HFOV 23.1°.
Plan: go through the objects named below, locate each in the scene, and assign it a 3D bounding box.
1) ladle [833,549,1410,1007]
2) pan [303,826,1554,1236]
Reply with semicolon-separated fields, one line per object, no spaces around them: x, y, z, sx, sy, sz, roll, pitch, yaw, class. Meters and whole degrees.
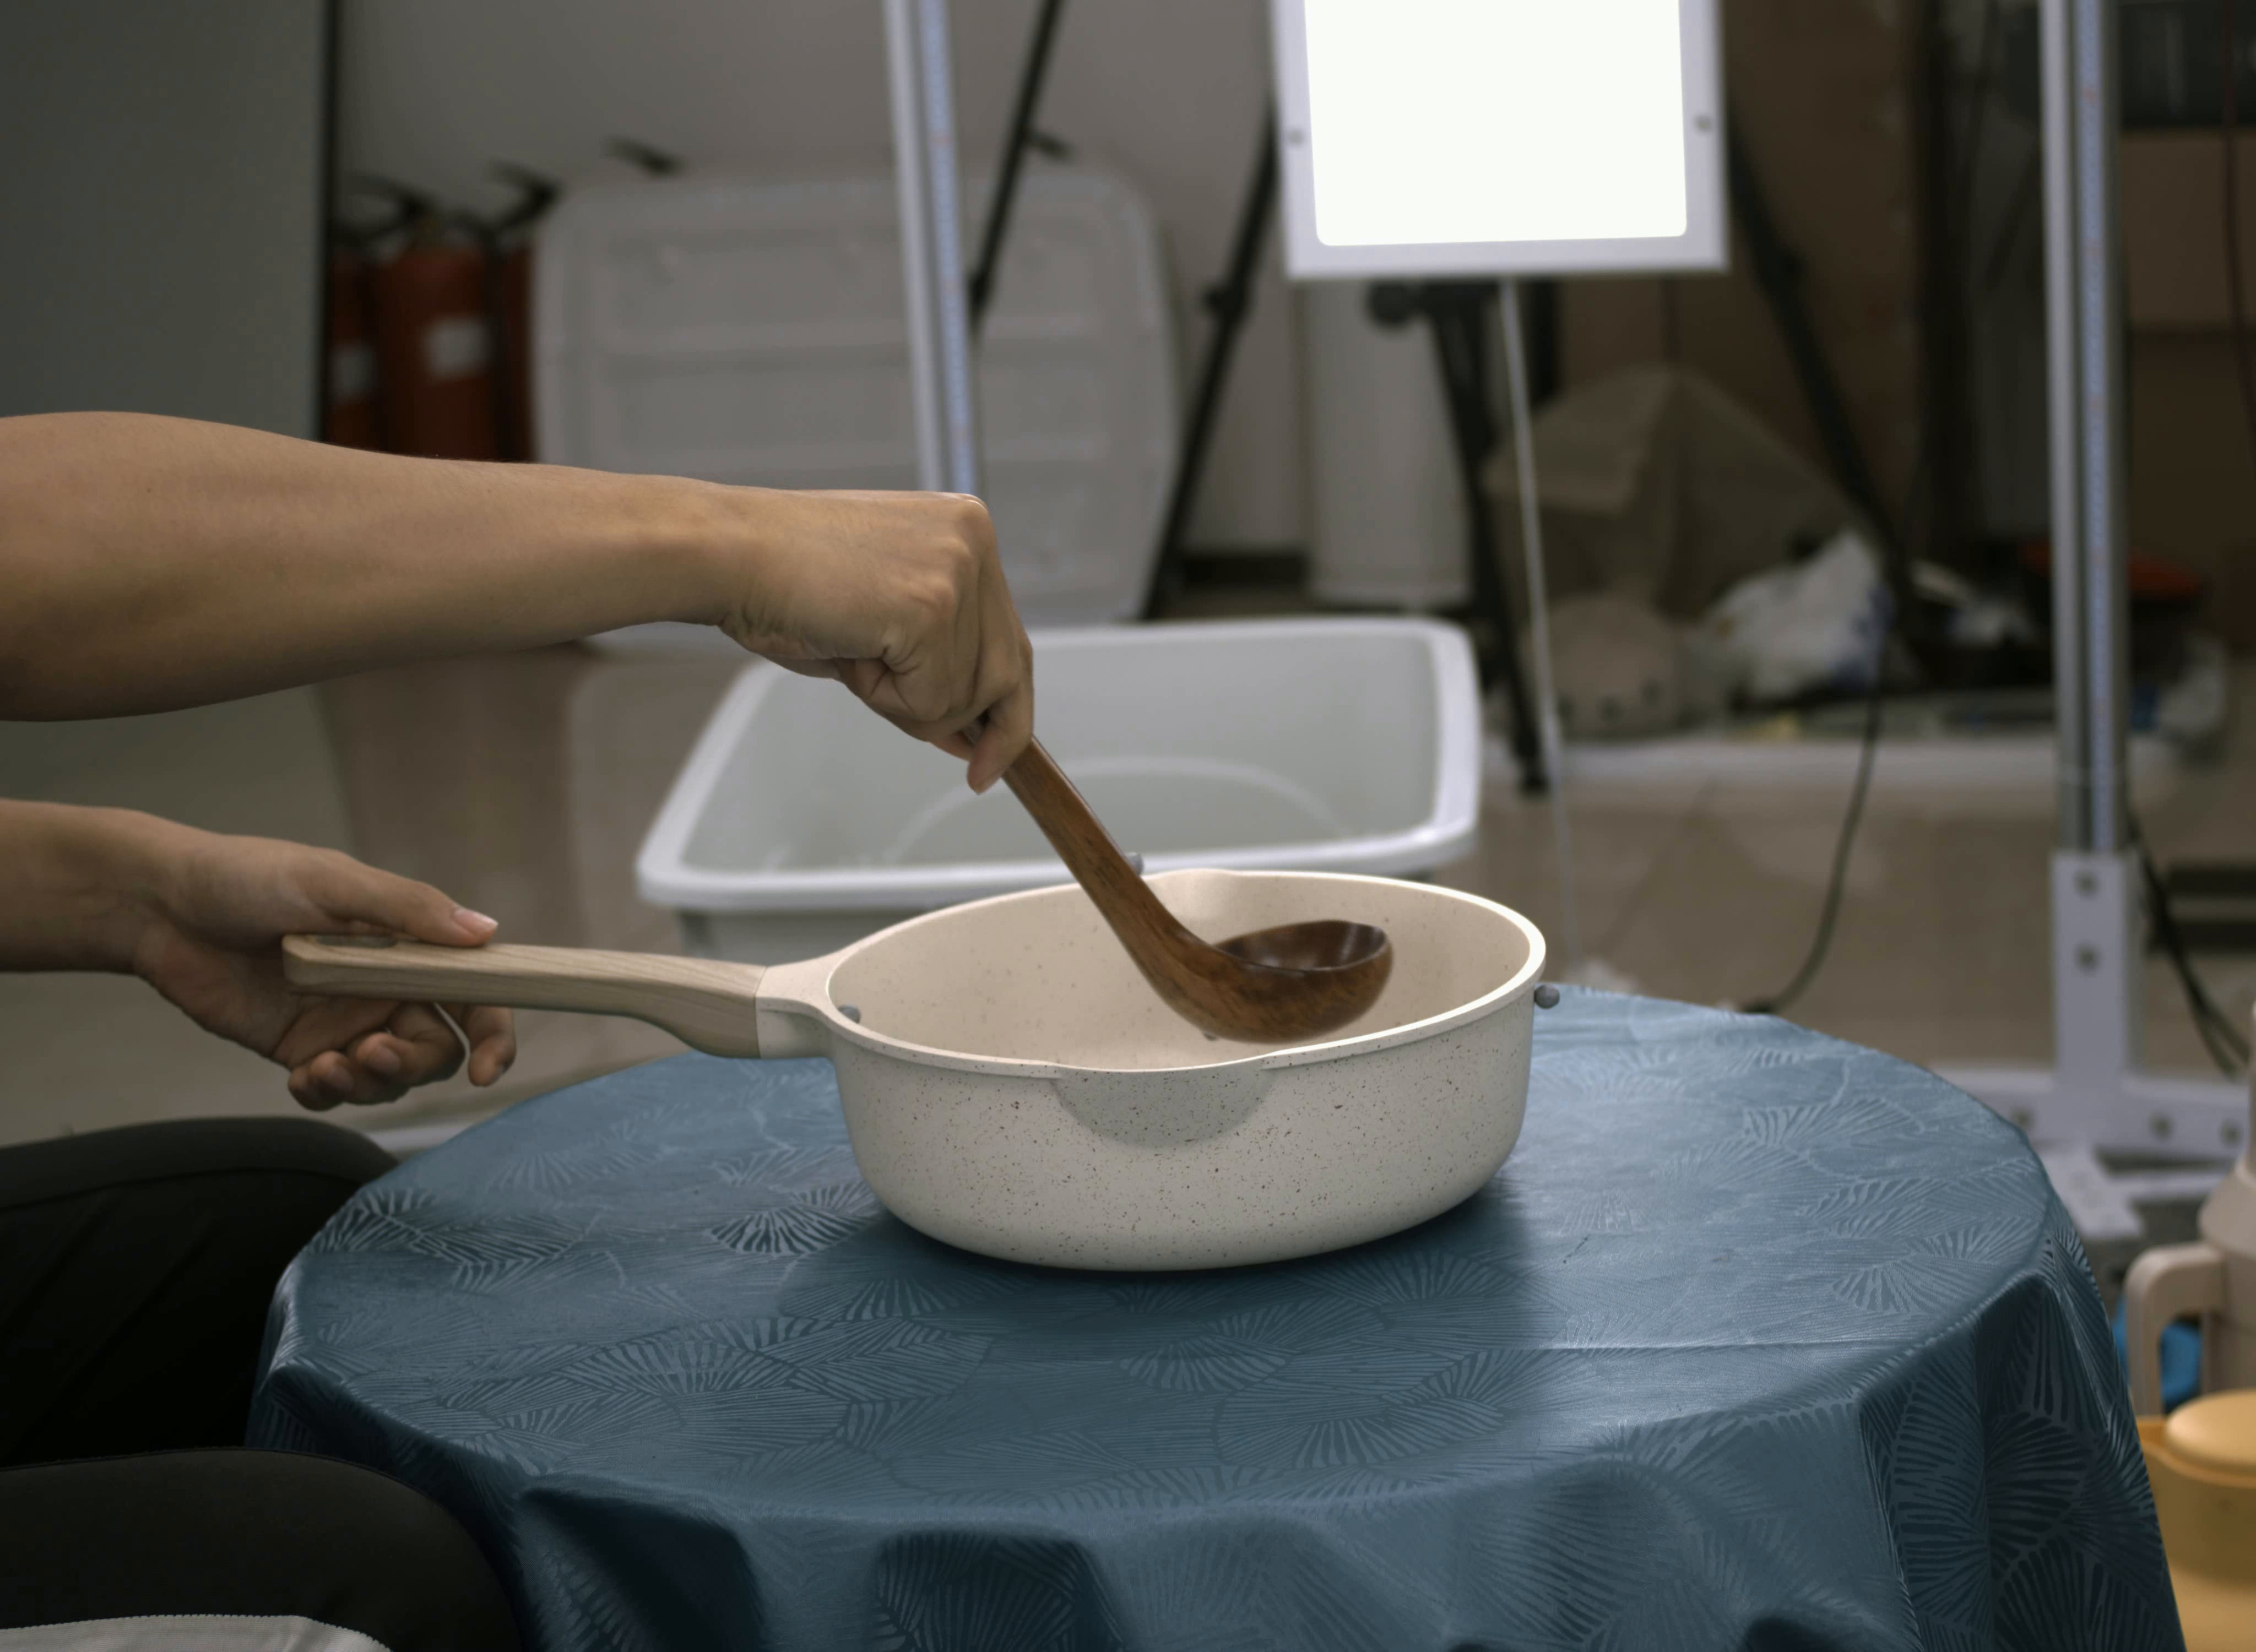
0.001;-0.027;1.855;0.084;0.271;0.076;-5;48;42;ladle
-0.067;0.071;1.914;0.436;0.102;0.262;-4;15;6;pan
